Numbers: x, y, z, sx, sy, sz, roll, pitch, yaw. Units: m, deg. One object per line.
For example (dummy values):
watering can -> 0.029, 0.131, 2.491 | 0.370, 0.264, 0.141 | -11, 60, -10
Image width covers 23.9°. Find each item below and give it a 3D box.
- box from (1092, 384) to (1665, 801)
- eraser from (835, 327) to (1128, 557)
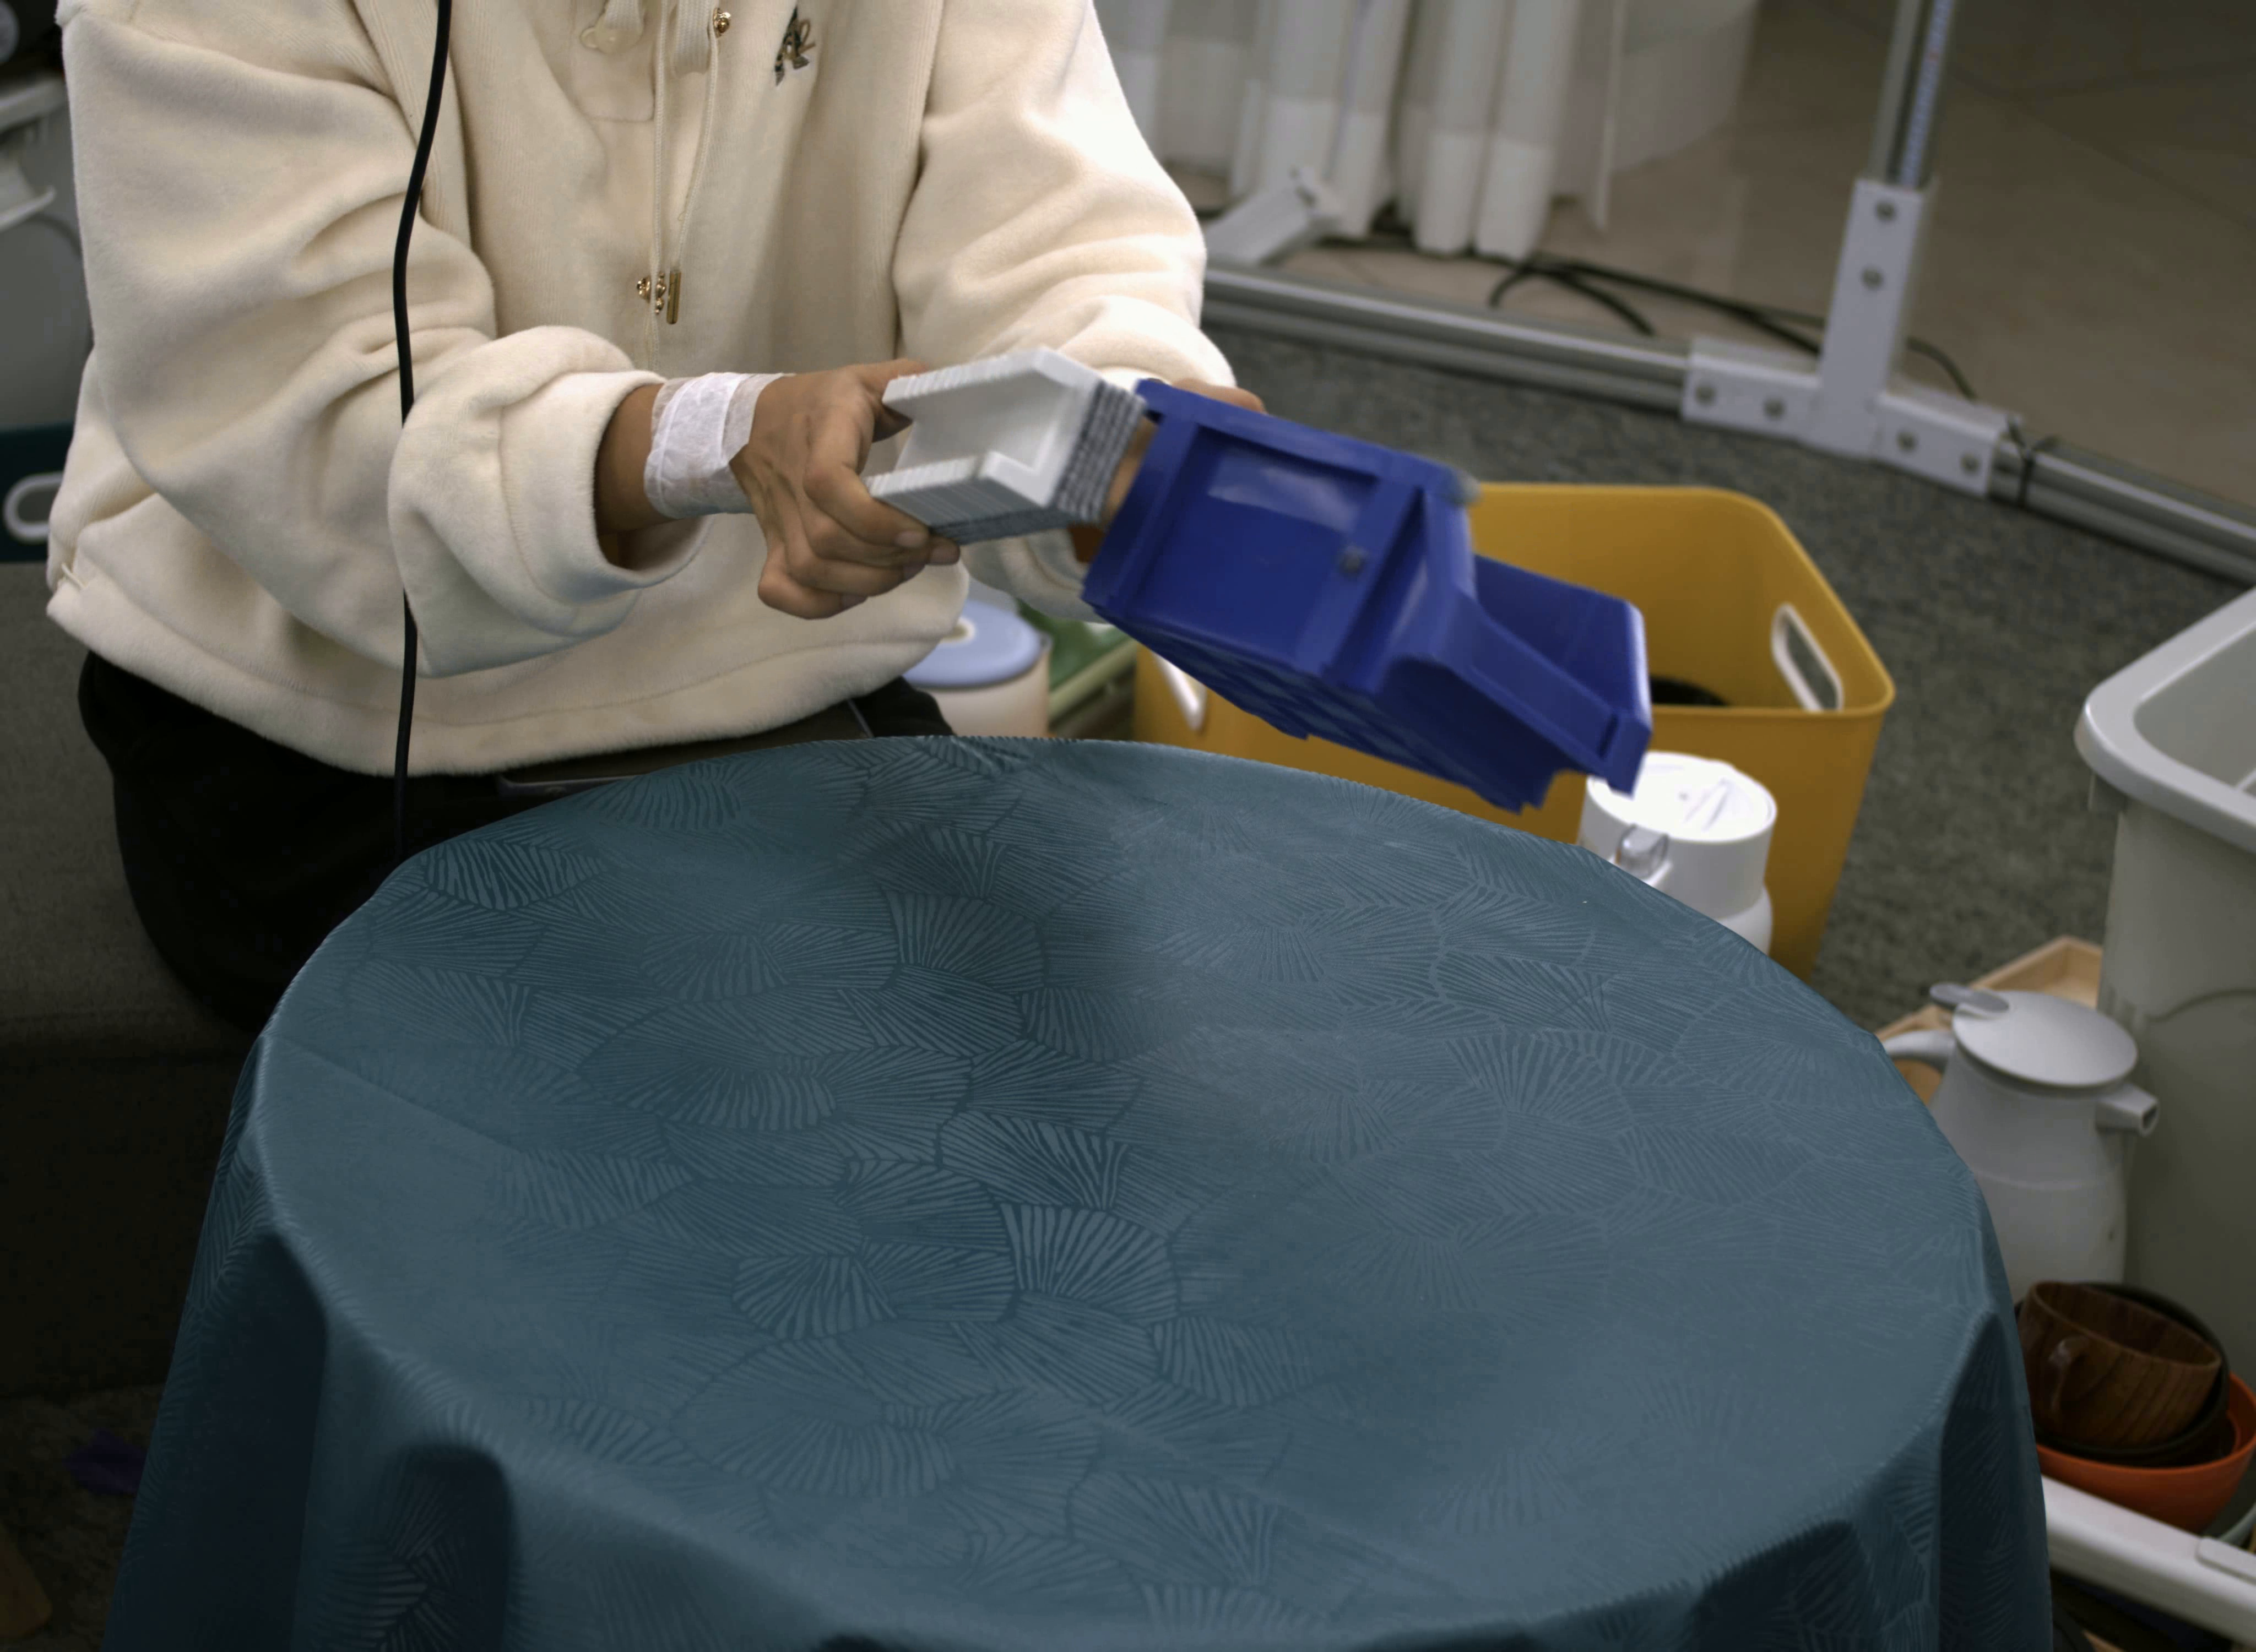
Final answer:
box -> 0.086, -0.075, 1.789 | 0.180, 0.082, 0.123 | 16, -12, 47
eraser -> -0.050, -0.127, 1.790 | 0.046, 0.050, 0.135 | 25, -13, -21
